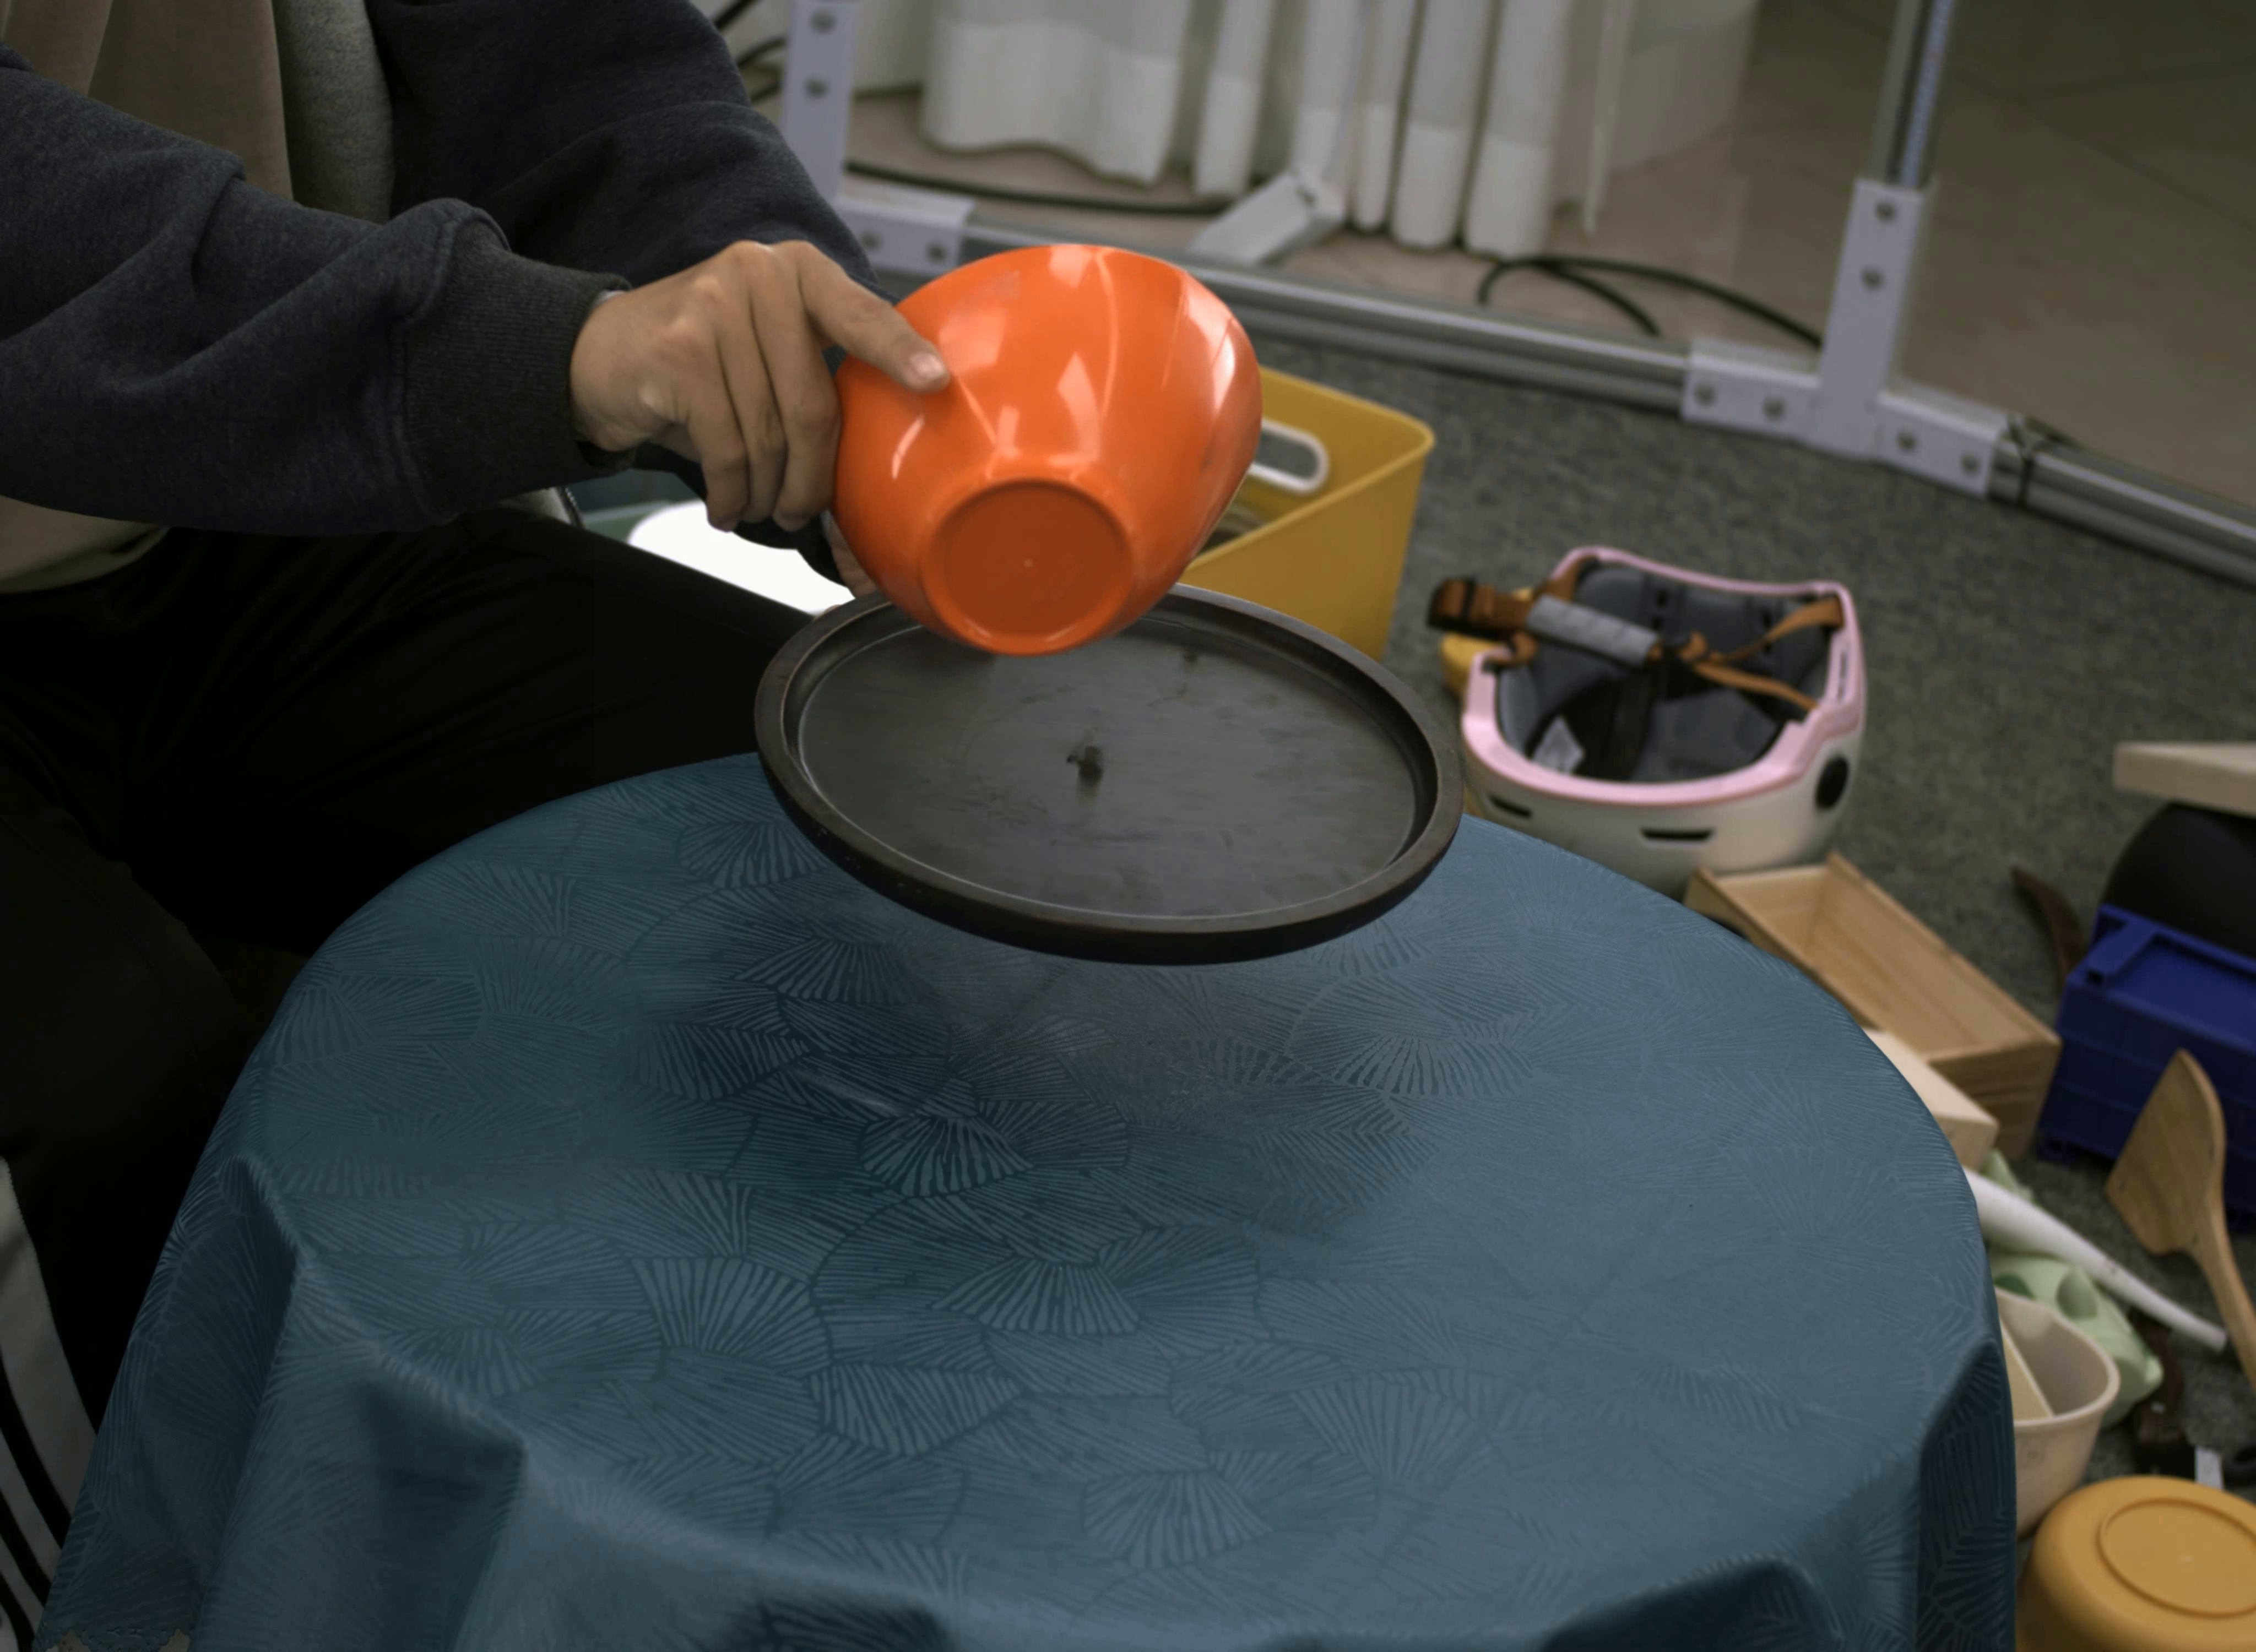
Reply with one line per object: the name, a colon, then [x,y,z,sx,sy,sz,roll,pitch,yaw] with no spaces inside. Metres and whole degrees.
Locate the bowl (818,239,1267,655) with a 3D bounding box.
bowl: [-0.025,-0.105,1.698,0.147,0.147,0.105,4,34,-6]

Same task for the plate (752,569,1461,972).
plate: [-0.008,-0.022,1.876,0.254,0.029,0.256,5,31,-3]
